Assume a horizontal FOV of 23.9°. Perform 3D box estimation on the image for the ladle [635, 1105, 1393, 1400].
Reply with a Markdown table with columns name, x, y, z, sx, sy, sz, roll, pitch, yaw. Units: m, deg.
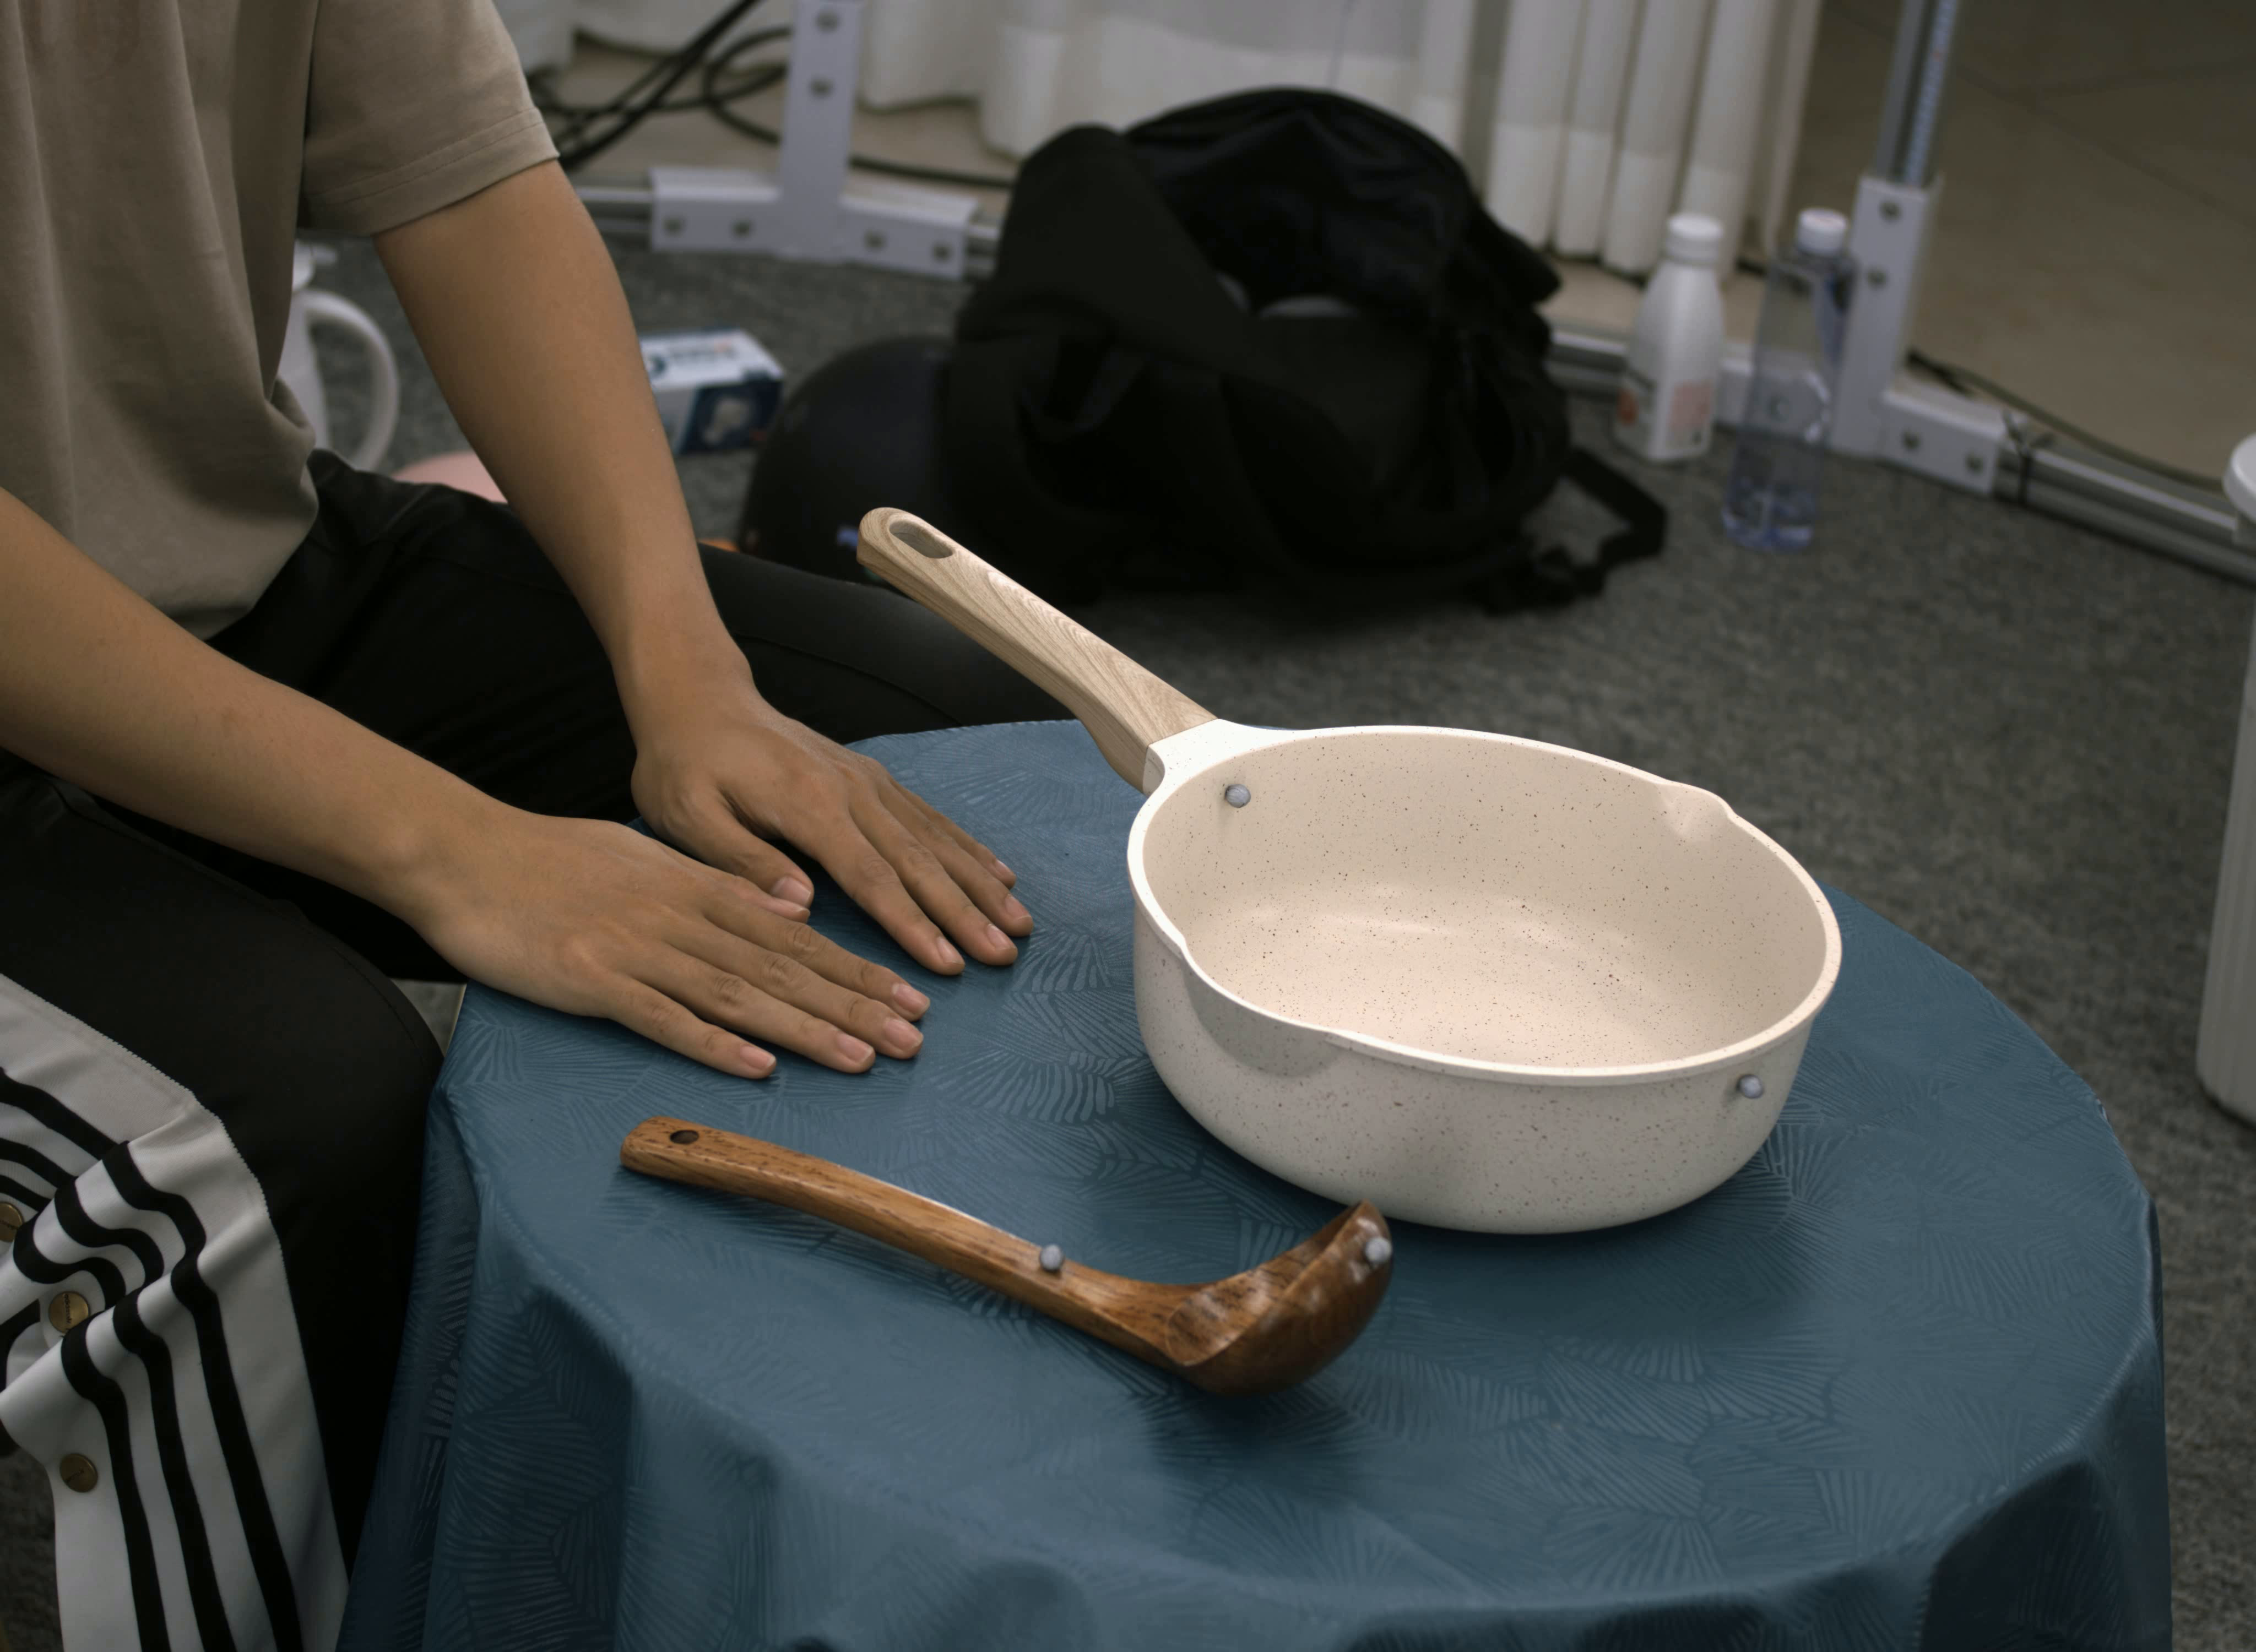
| name | x | y | z | sx | sy | sz | roll | pitch | yaw |
| --- | --- | --- | --- | --- | --- | --- | --- | --- | --- |
| ladle | -0.043 | 0.118 | 1.720 | 0.275 | 0.076 | 0.082 | 20 | 31 | 23 |

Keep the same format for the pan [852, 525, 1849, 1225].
| name | x | y | z | sx | sy | sz | roll | pitch | yaw |
| --- | --- | --- | --- | --- | --- | --- | --- | --- | --- |
| pan | 0.057 | 0.013 | 1.925 | 0.438 | 0.101 | 0.262 | 28 | 35 | 35 |
